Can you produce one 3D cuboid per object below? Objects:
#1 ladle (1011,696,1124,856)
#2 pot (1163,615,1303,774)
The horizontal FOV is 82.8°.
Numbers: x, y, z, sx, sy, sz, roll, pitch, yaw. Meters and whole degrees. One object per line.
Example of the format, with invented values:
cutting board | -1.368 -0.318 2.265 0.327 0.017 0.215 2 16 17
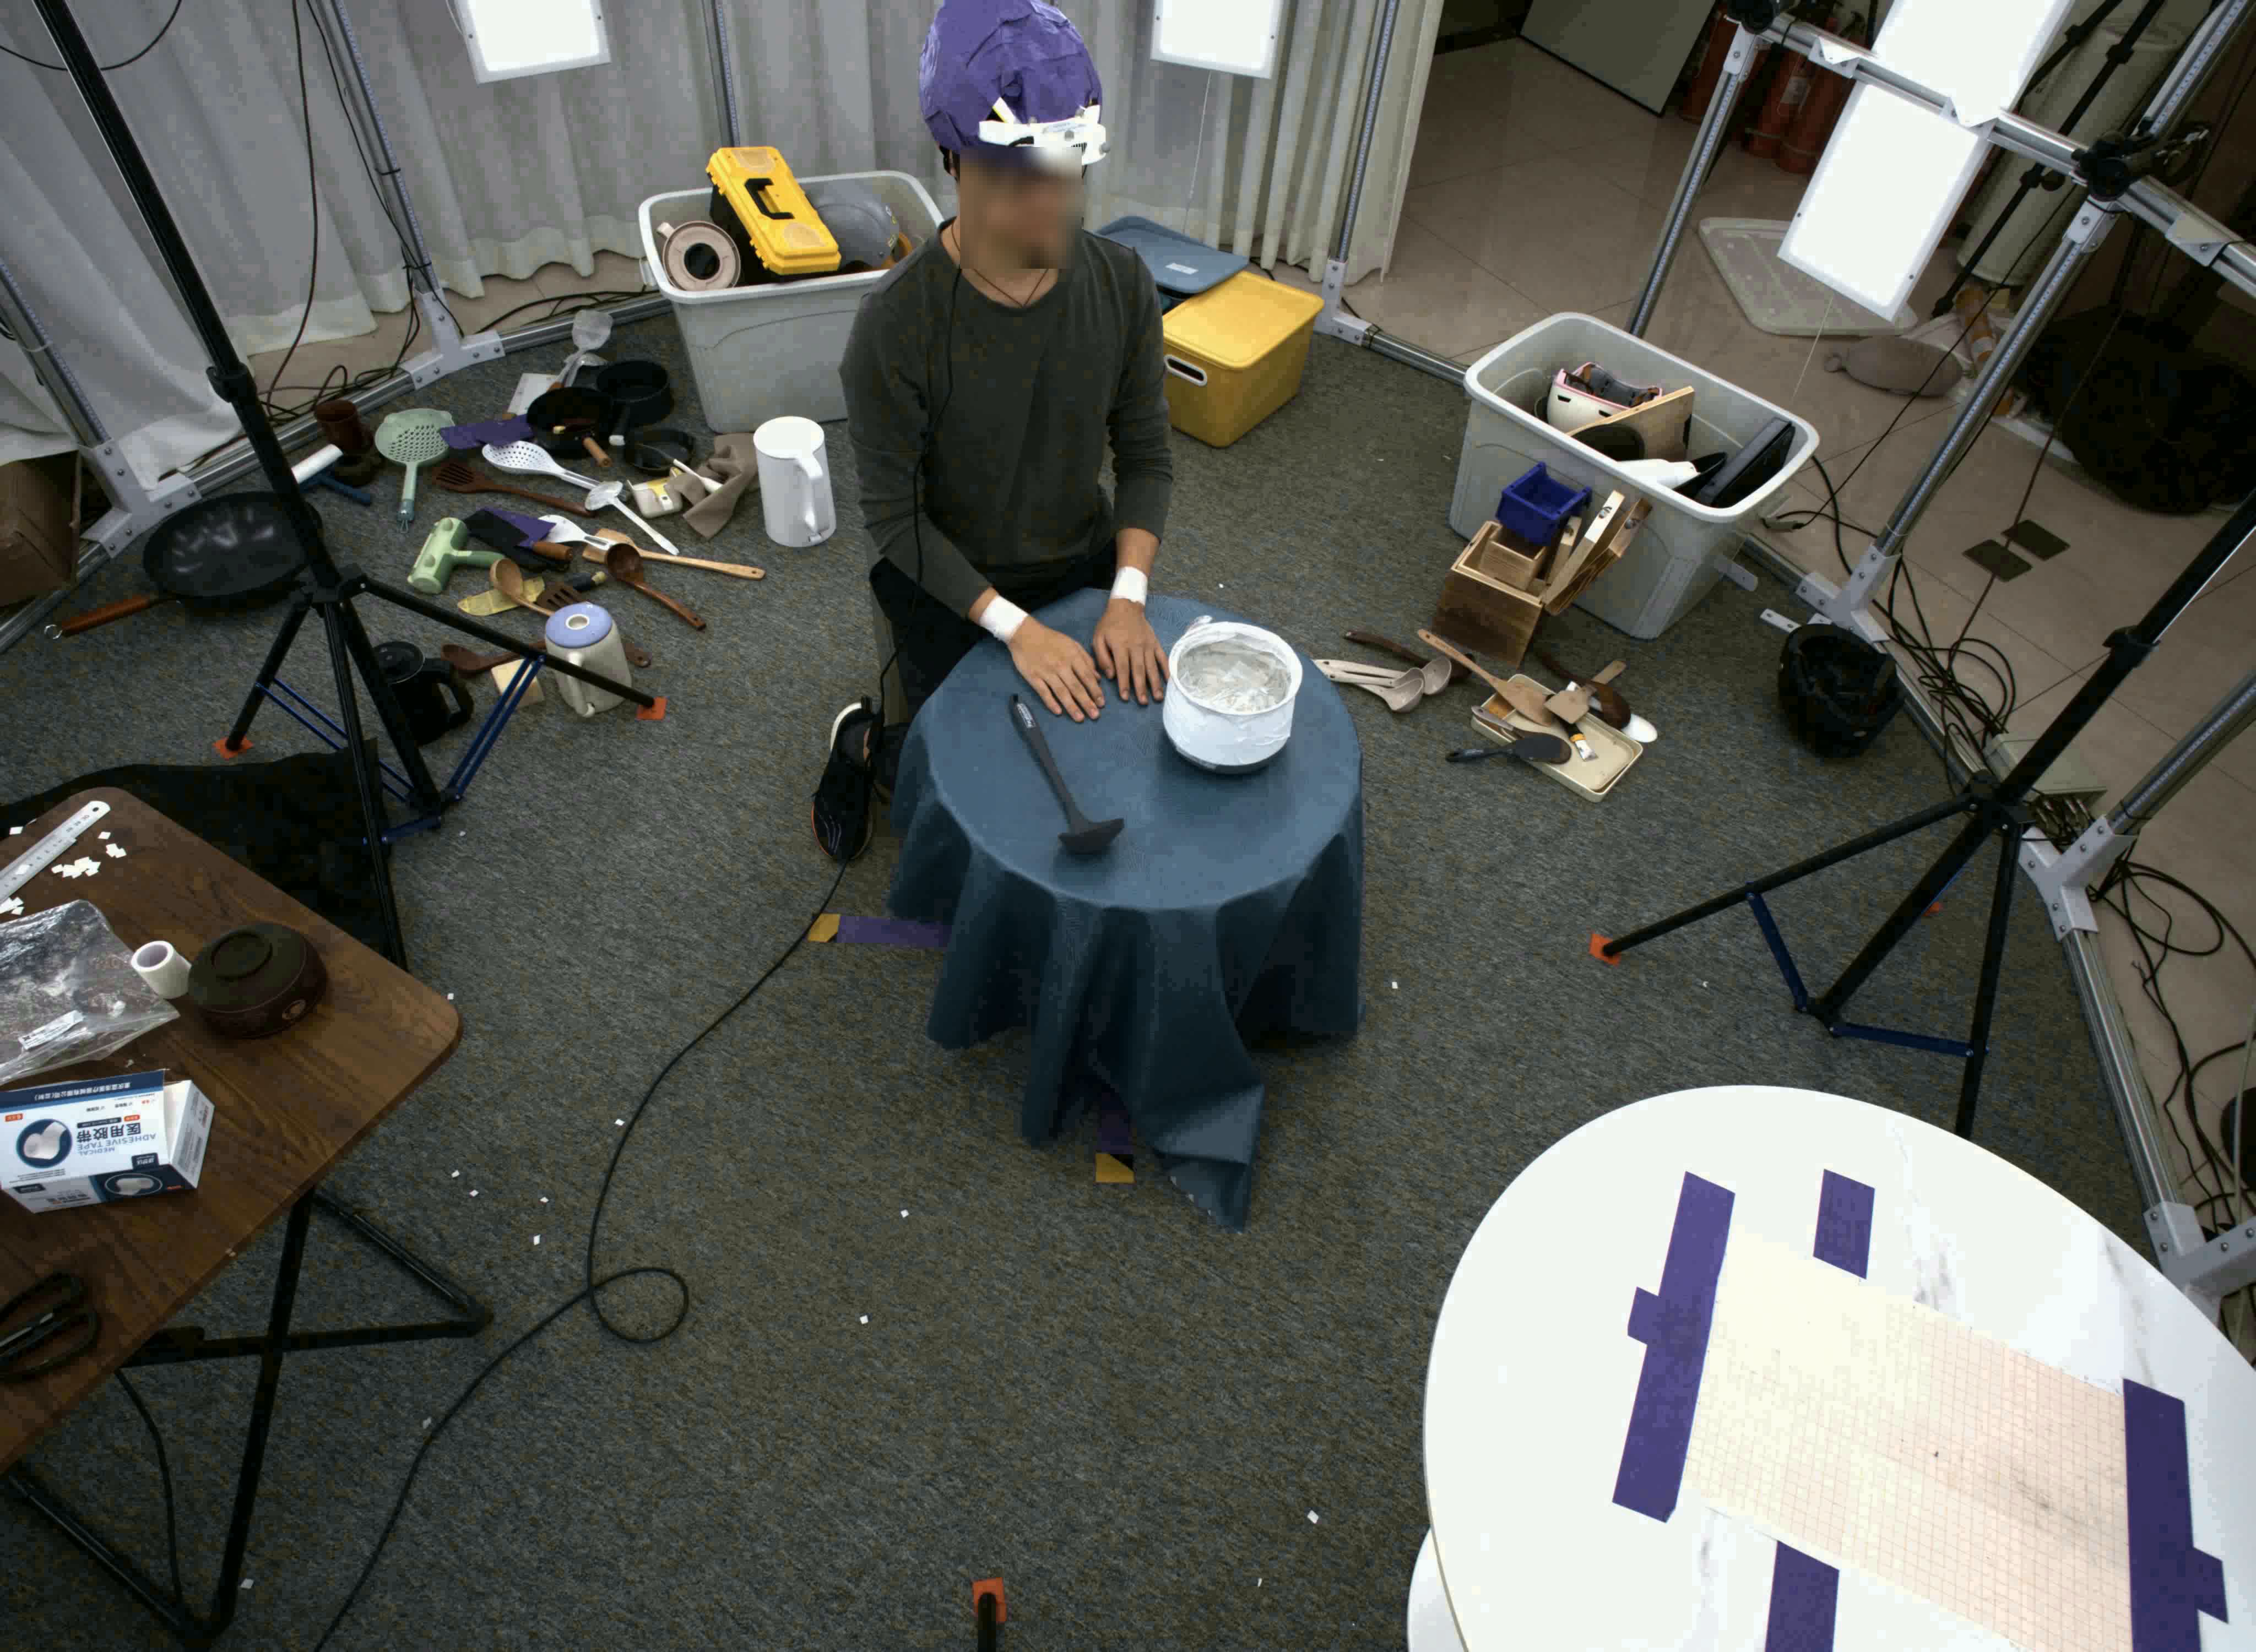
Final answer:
ladle | -0.097 -0.081 1.691 0.086 0.062 0.321 -12 51 -20
pot | 0.128 -0.189 1.751 0.179 0.133 0.239 -15 52 -16
